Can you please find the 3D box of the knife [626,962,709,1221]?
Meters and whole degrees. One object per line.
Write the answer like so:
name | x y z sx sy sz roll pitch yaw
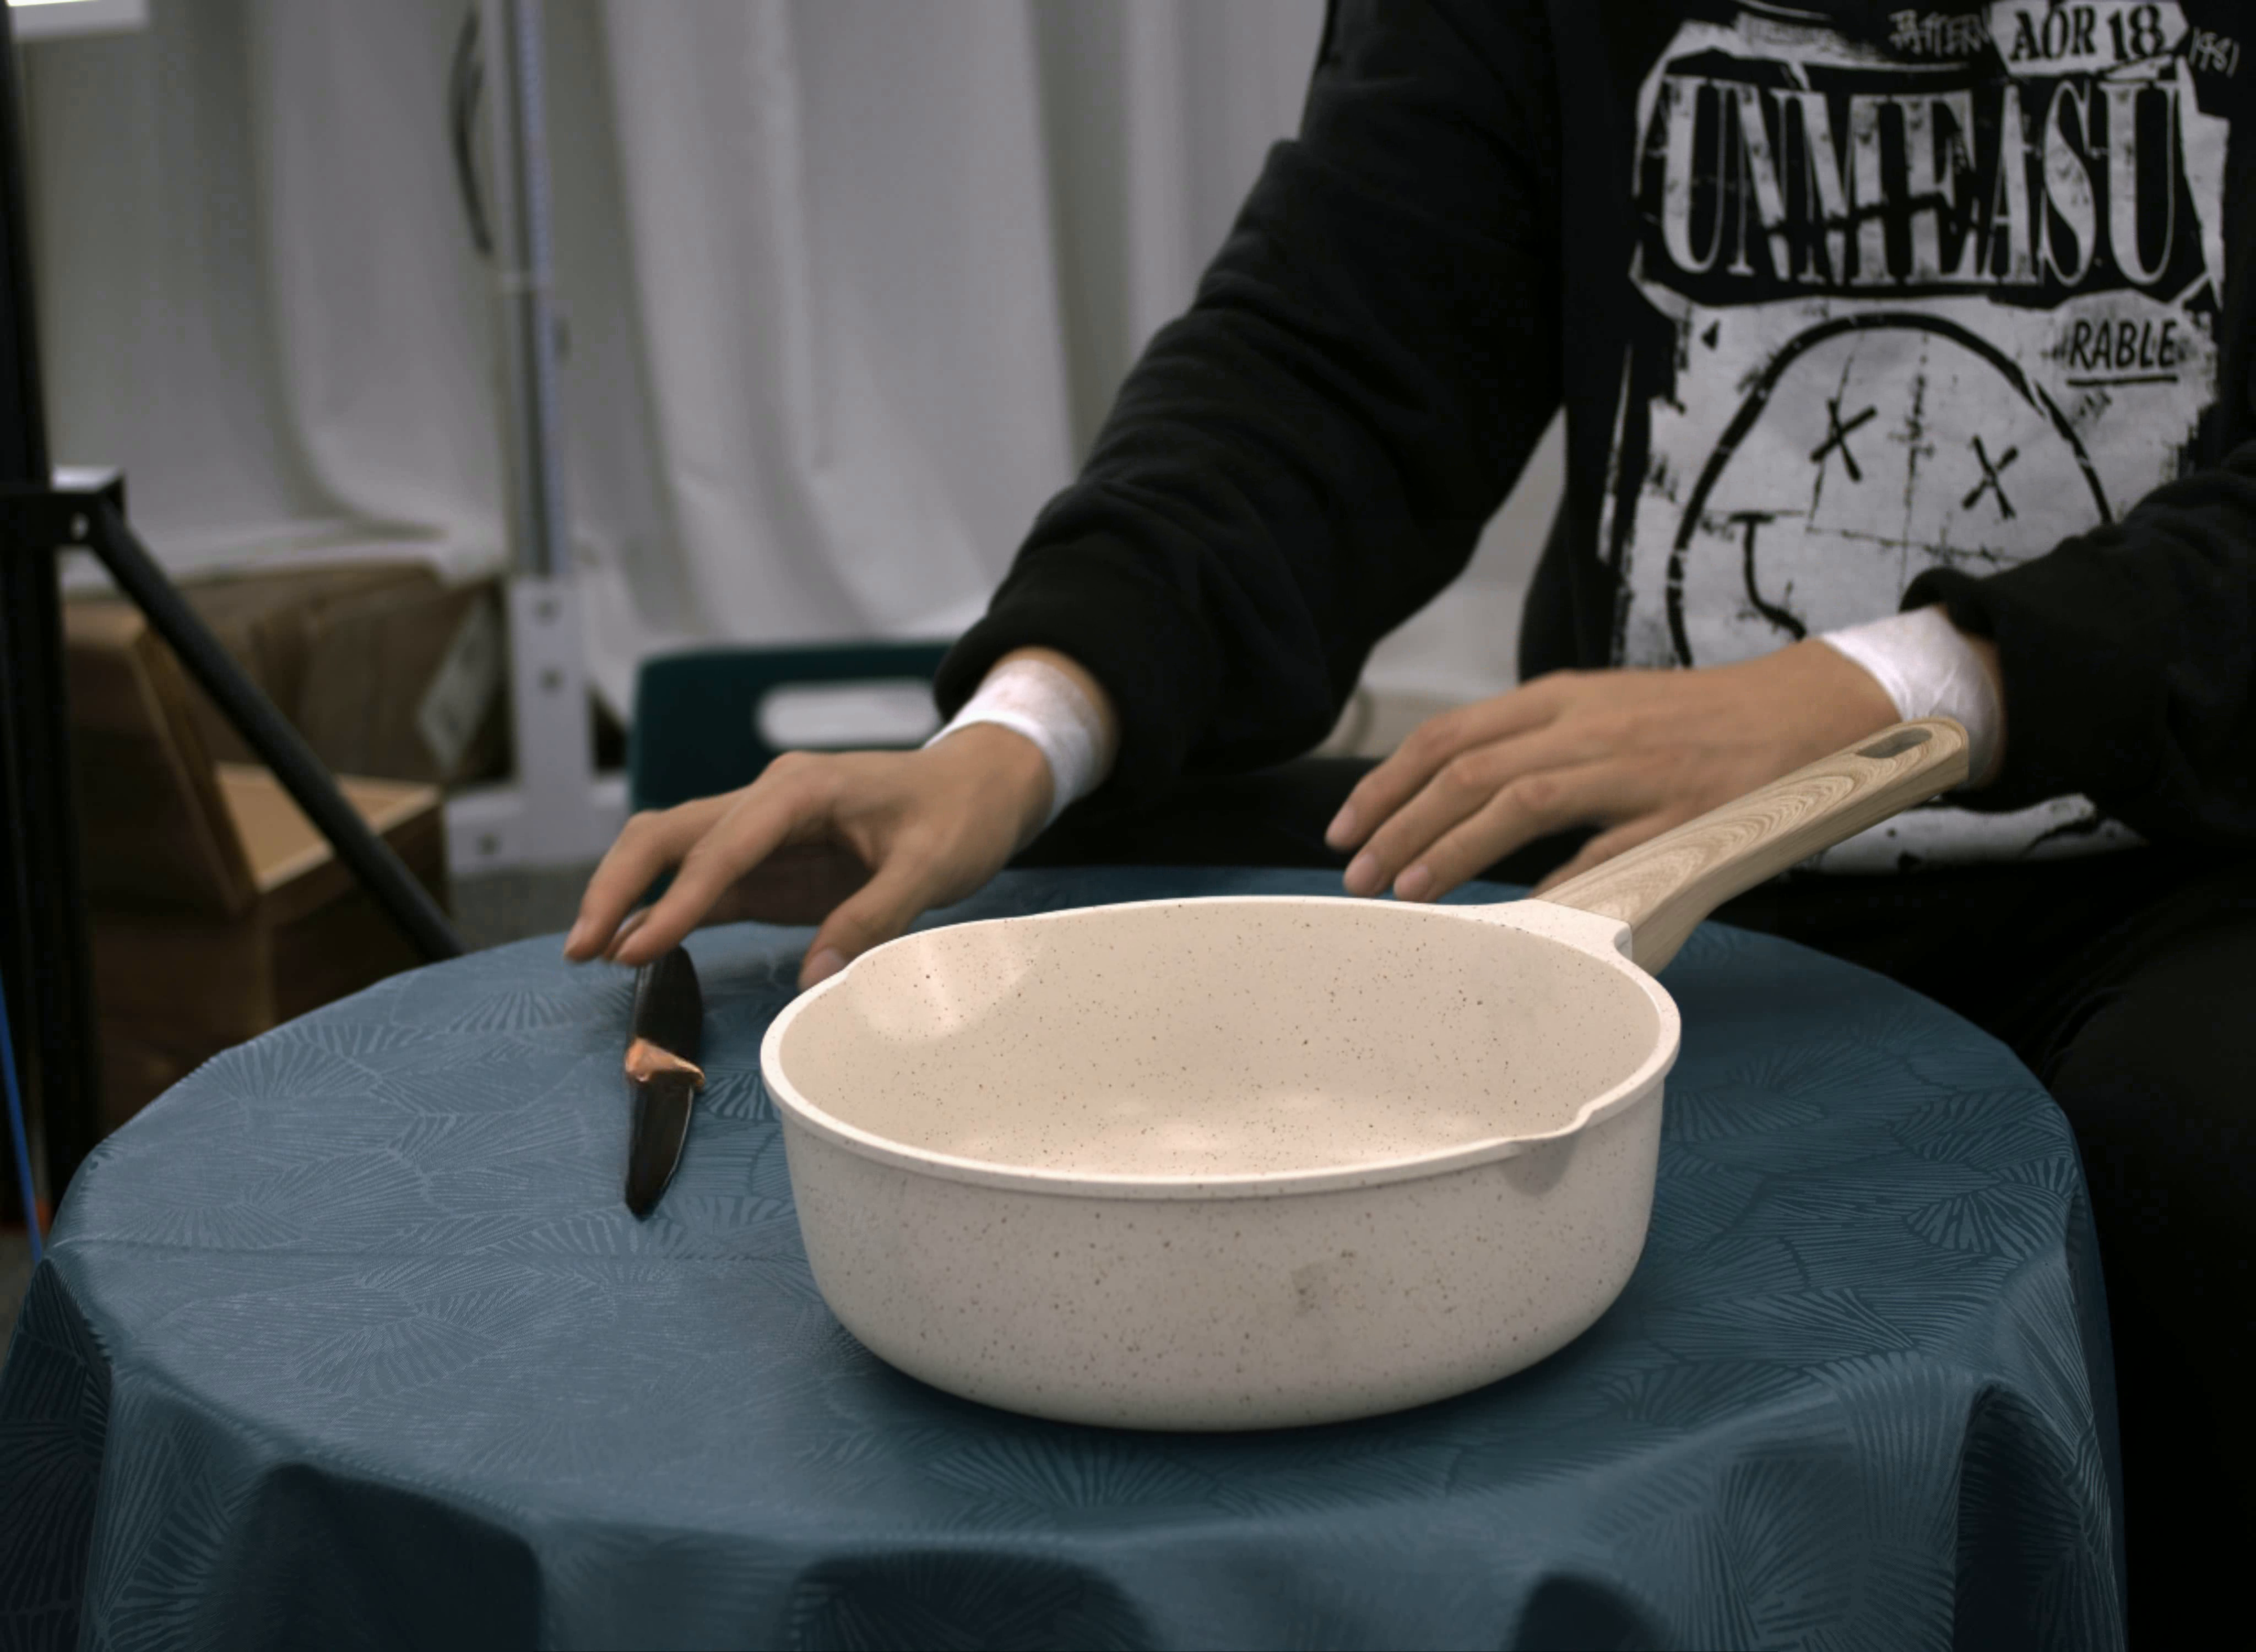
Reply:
knife | -0.143 0.081 1.657 0.026 0.017 0.227 13 15 -7

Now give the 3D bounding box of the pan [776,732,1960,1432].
pan | 0.097 0.067 1.502 0.425 0.102 0.269 -16 19 -40
